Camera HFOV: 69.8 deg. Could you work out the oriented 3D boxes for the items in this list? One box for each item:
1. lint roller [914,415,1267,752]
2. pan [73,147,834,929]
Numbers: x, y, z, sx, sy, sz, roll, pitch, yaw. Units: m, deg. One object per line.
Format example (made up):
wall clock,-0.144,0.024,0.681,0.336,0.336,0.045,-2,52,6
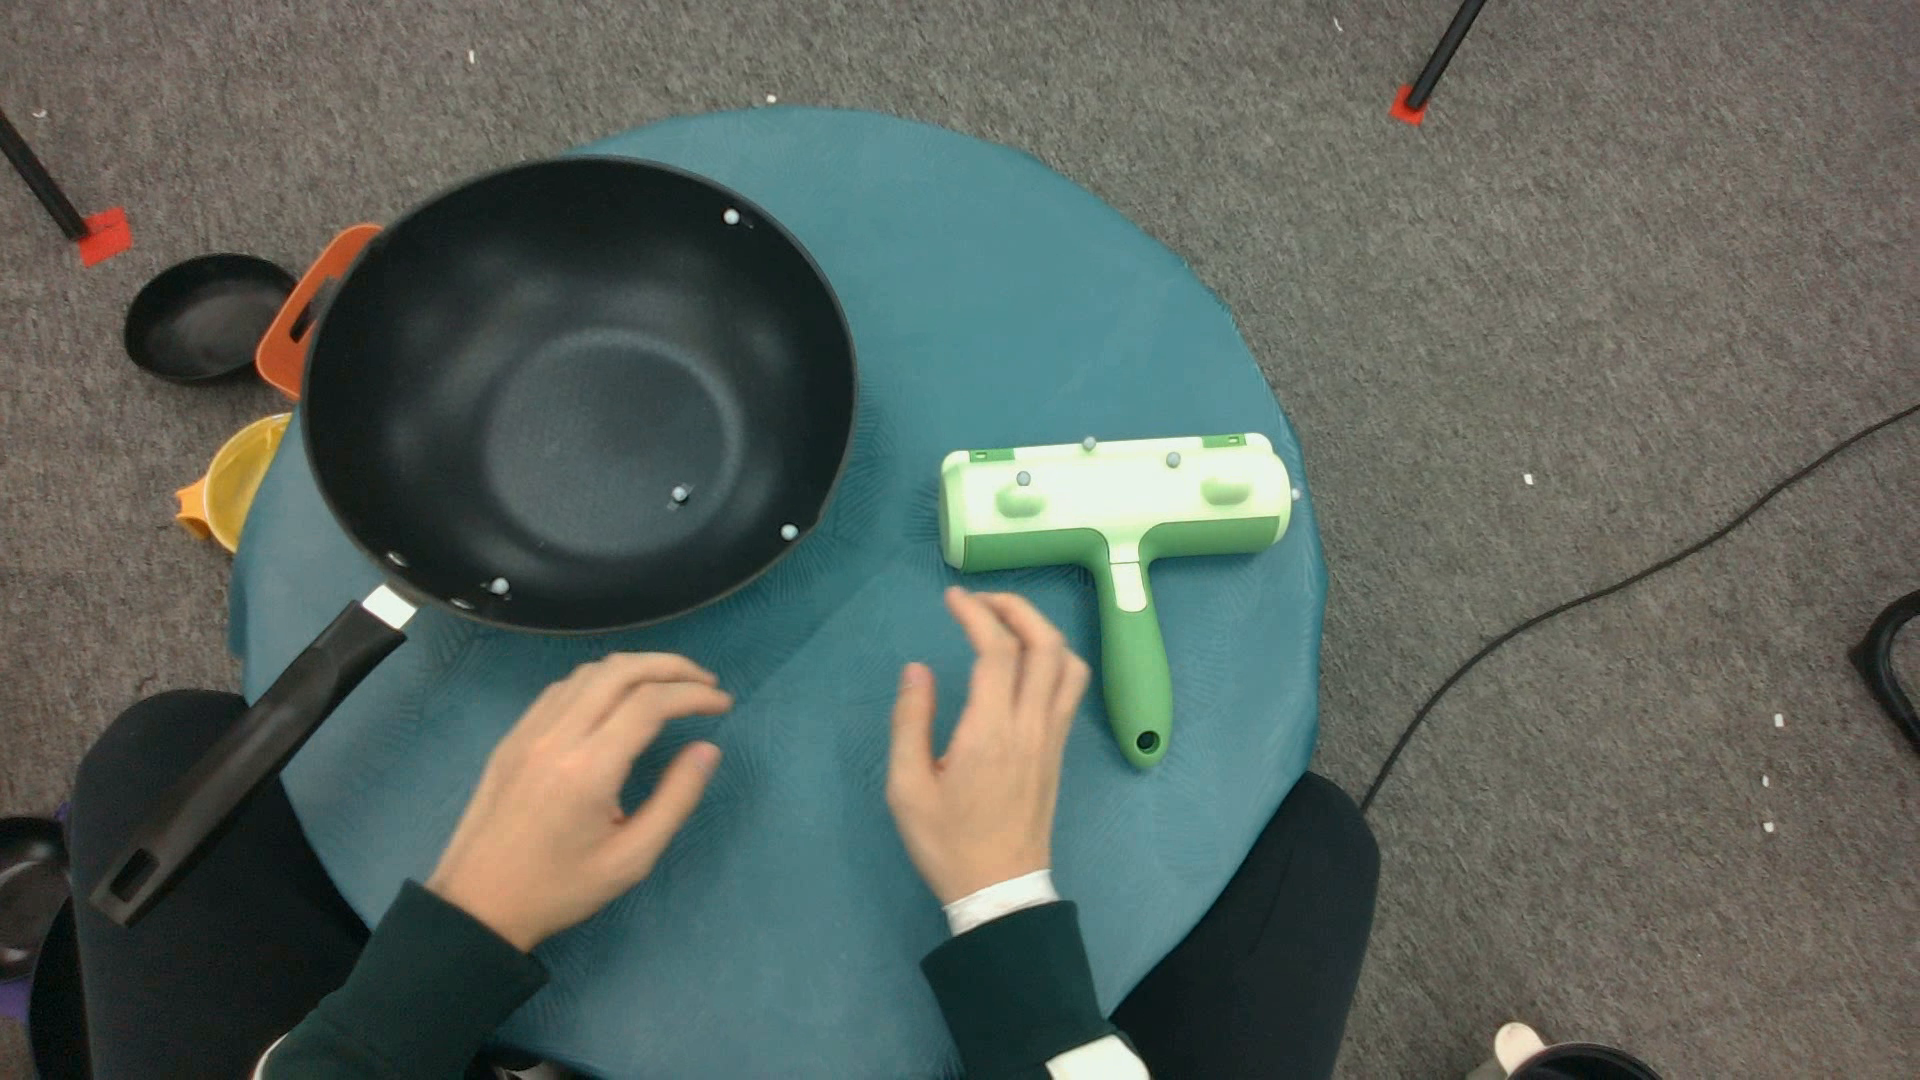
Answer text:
lint roller,0.082,0.018,0.749,0.199,0.082,0.184,-5,64,-9
pan,-0.256,-0.001,0.713,0.288,0.086,0.465,30,69,7
